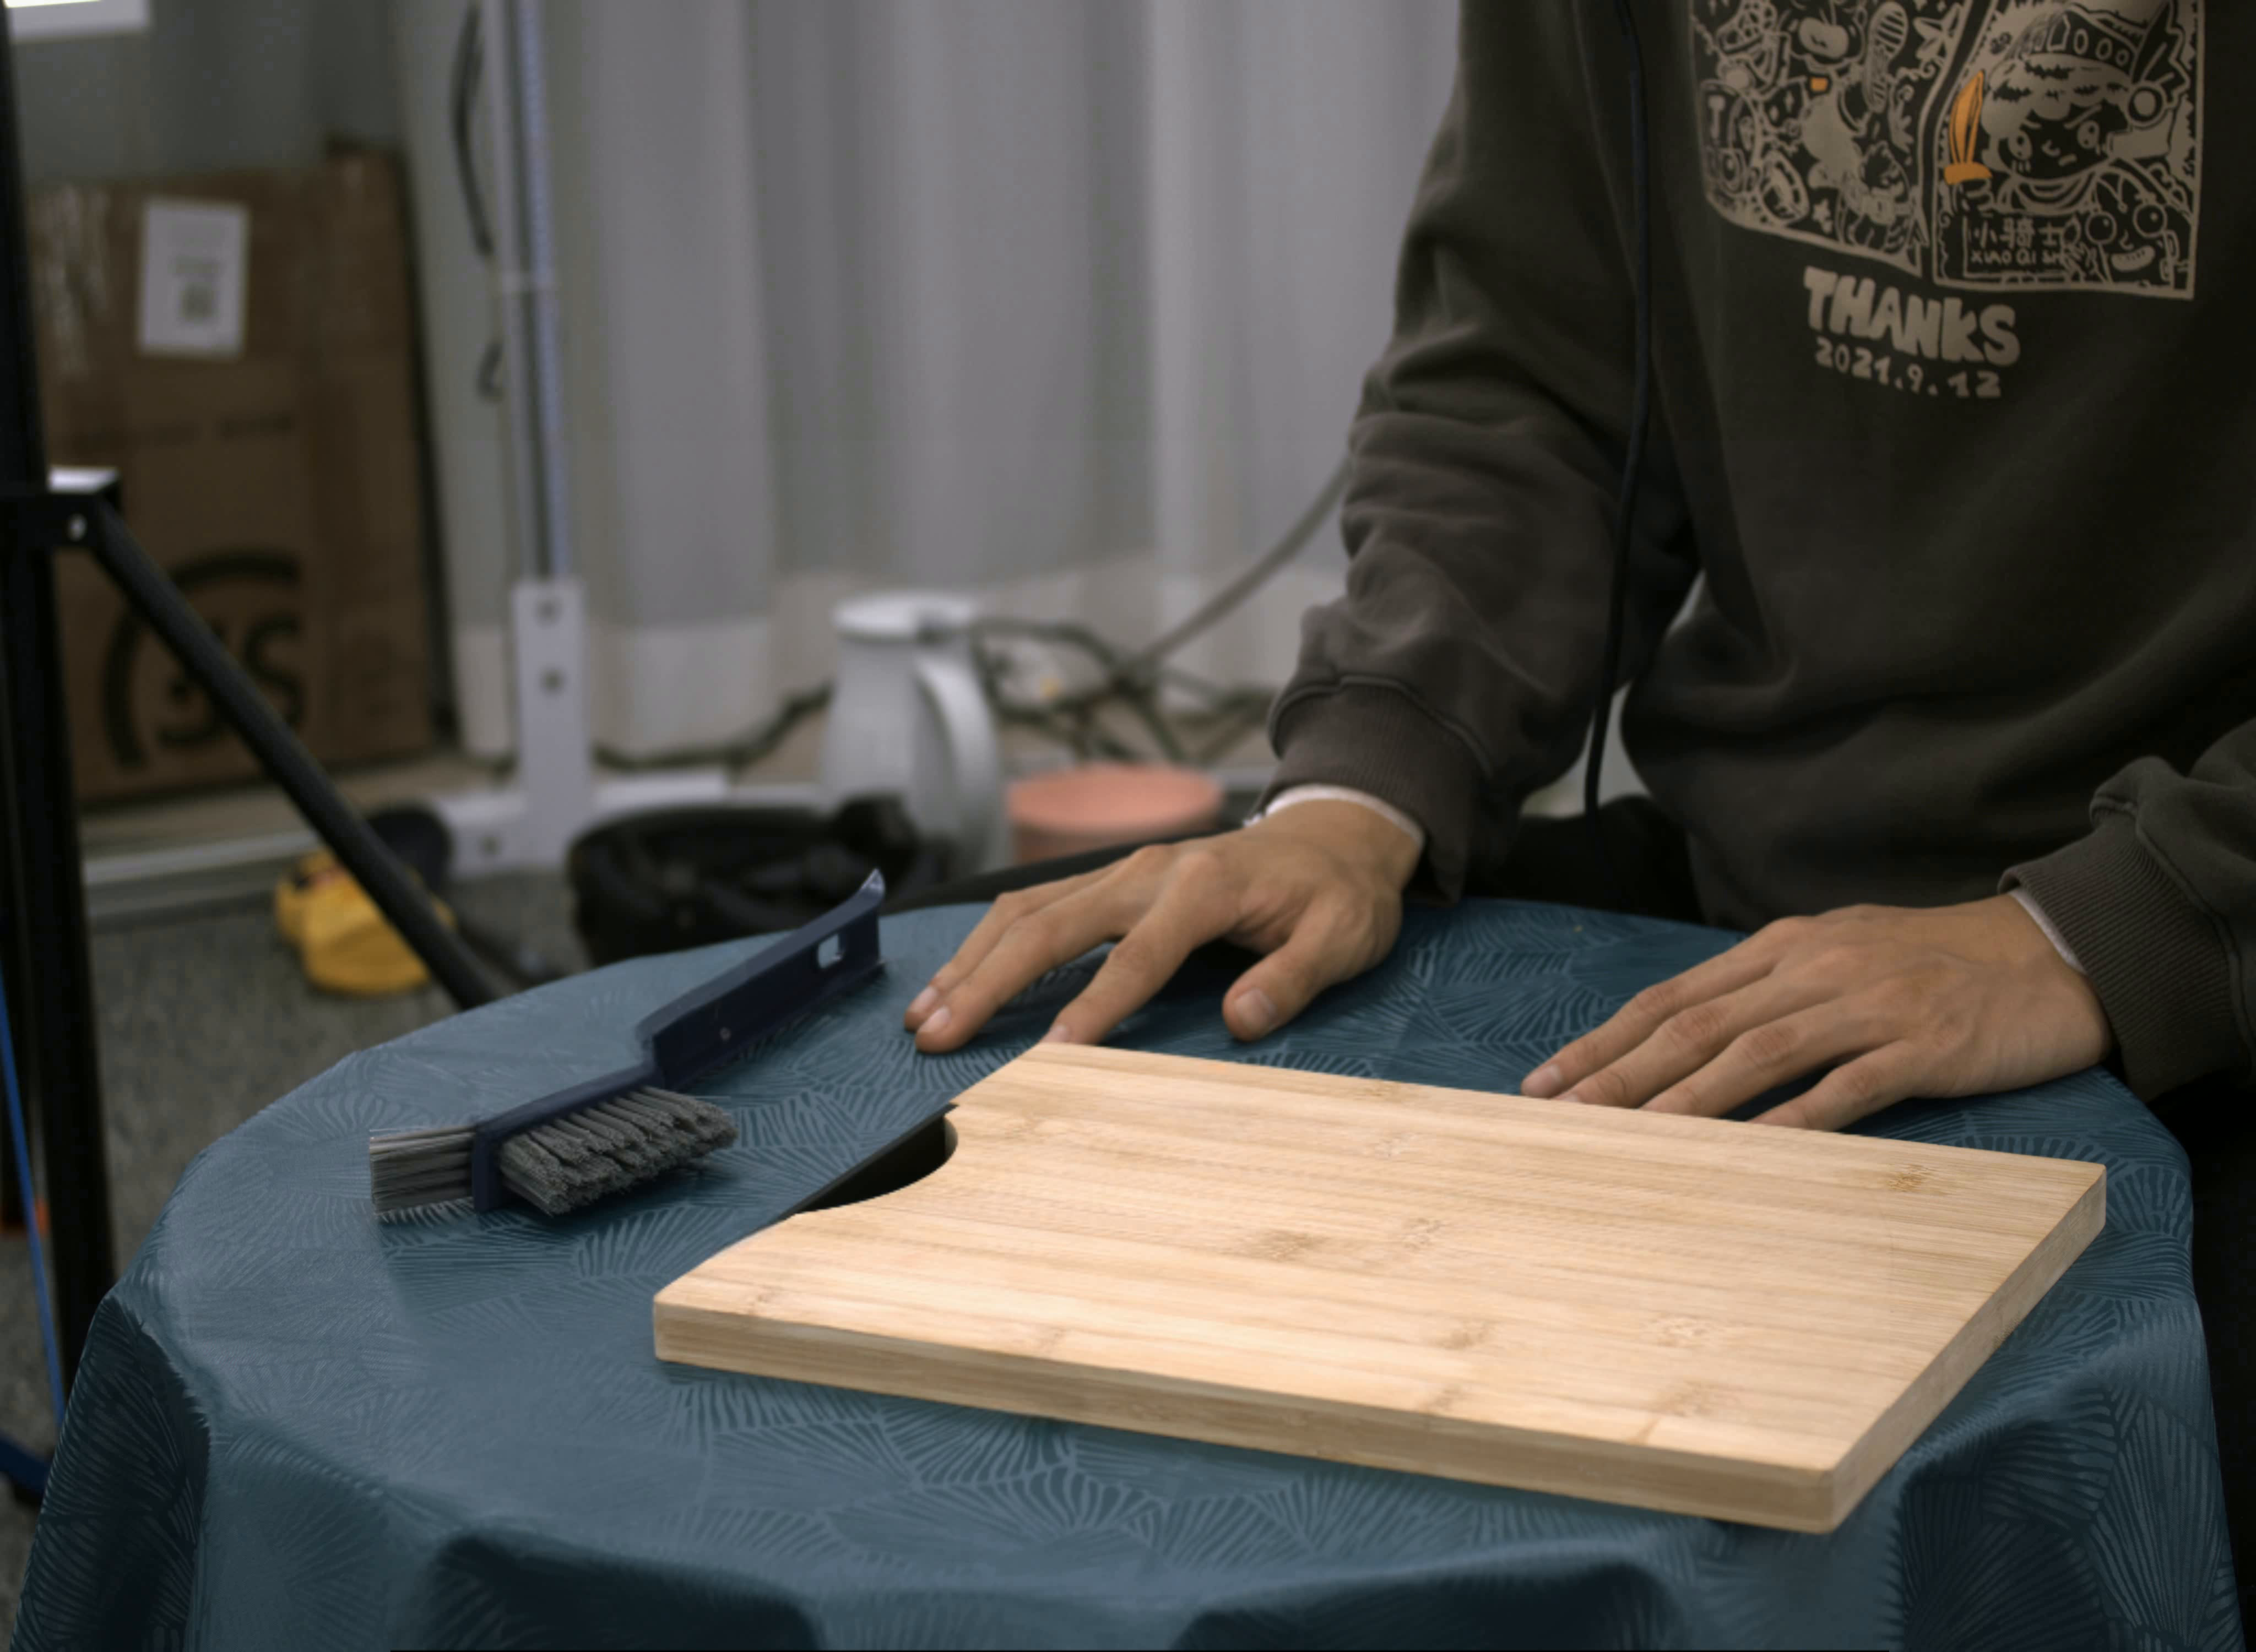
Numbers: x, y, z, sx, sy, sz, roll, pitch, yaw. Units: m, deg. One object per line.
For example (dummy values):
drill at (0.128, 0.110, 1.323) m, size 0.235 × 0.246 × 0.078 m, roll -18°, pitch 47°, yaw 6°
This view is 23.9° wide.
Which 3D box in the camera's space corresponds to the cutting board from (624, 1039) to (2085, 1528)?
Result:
cutting board at (0.067, 0.121, 1.475) m, size 0.354 × 0.023 × 0.247 m, roll 5°, pitch 17°, yaw 26°

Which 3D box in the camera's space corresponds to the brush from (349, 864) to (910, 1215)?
brush at (-0.146, 0.066, 1.679) m, size 0.097 × 0.033 × 0.270 m, roll 3°, pitch 18°, yaw 19°
